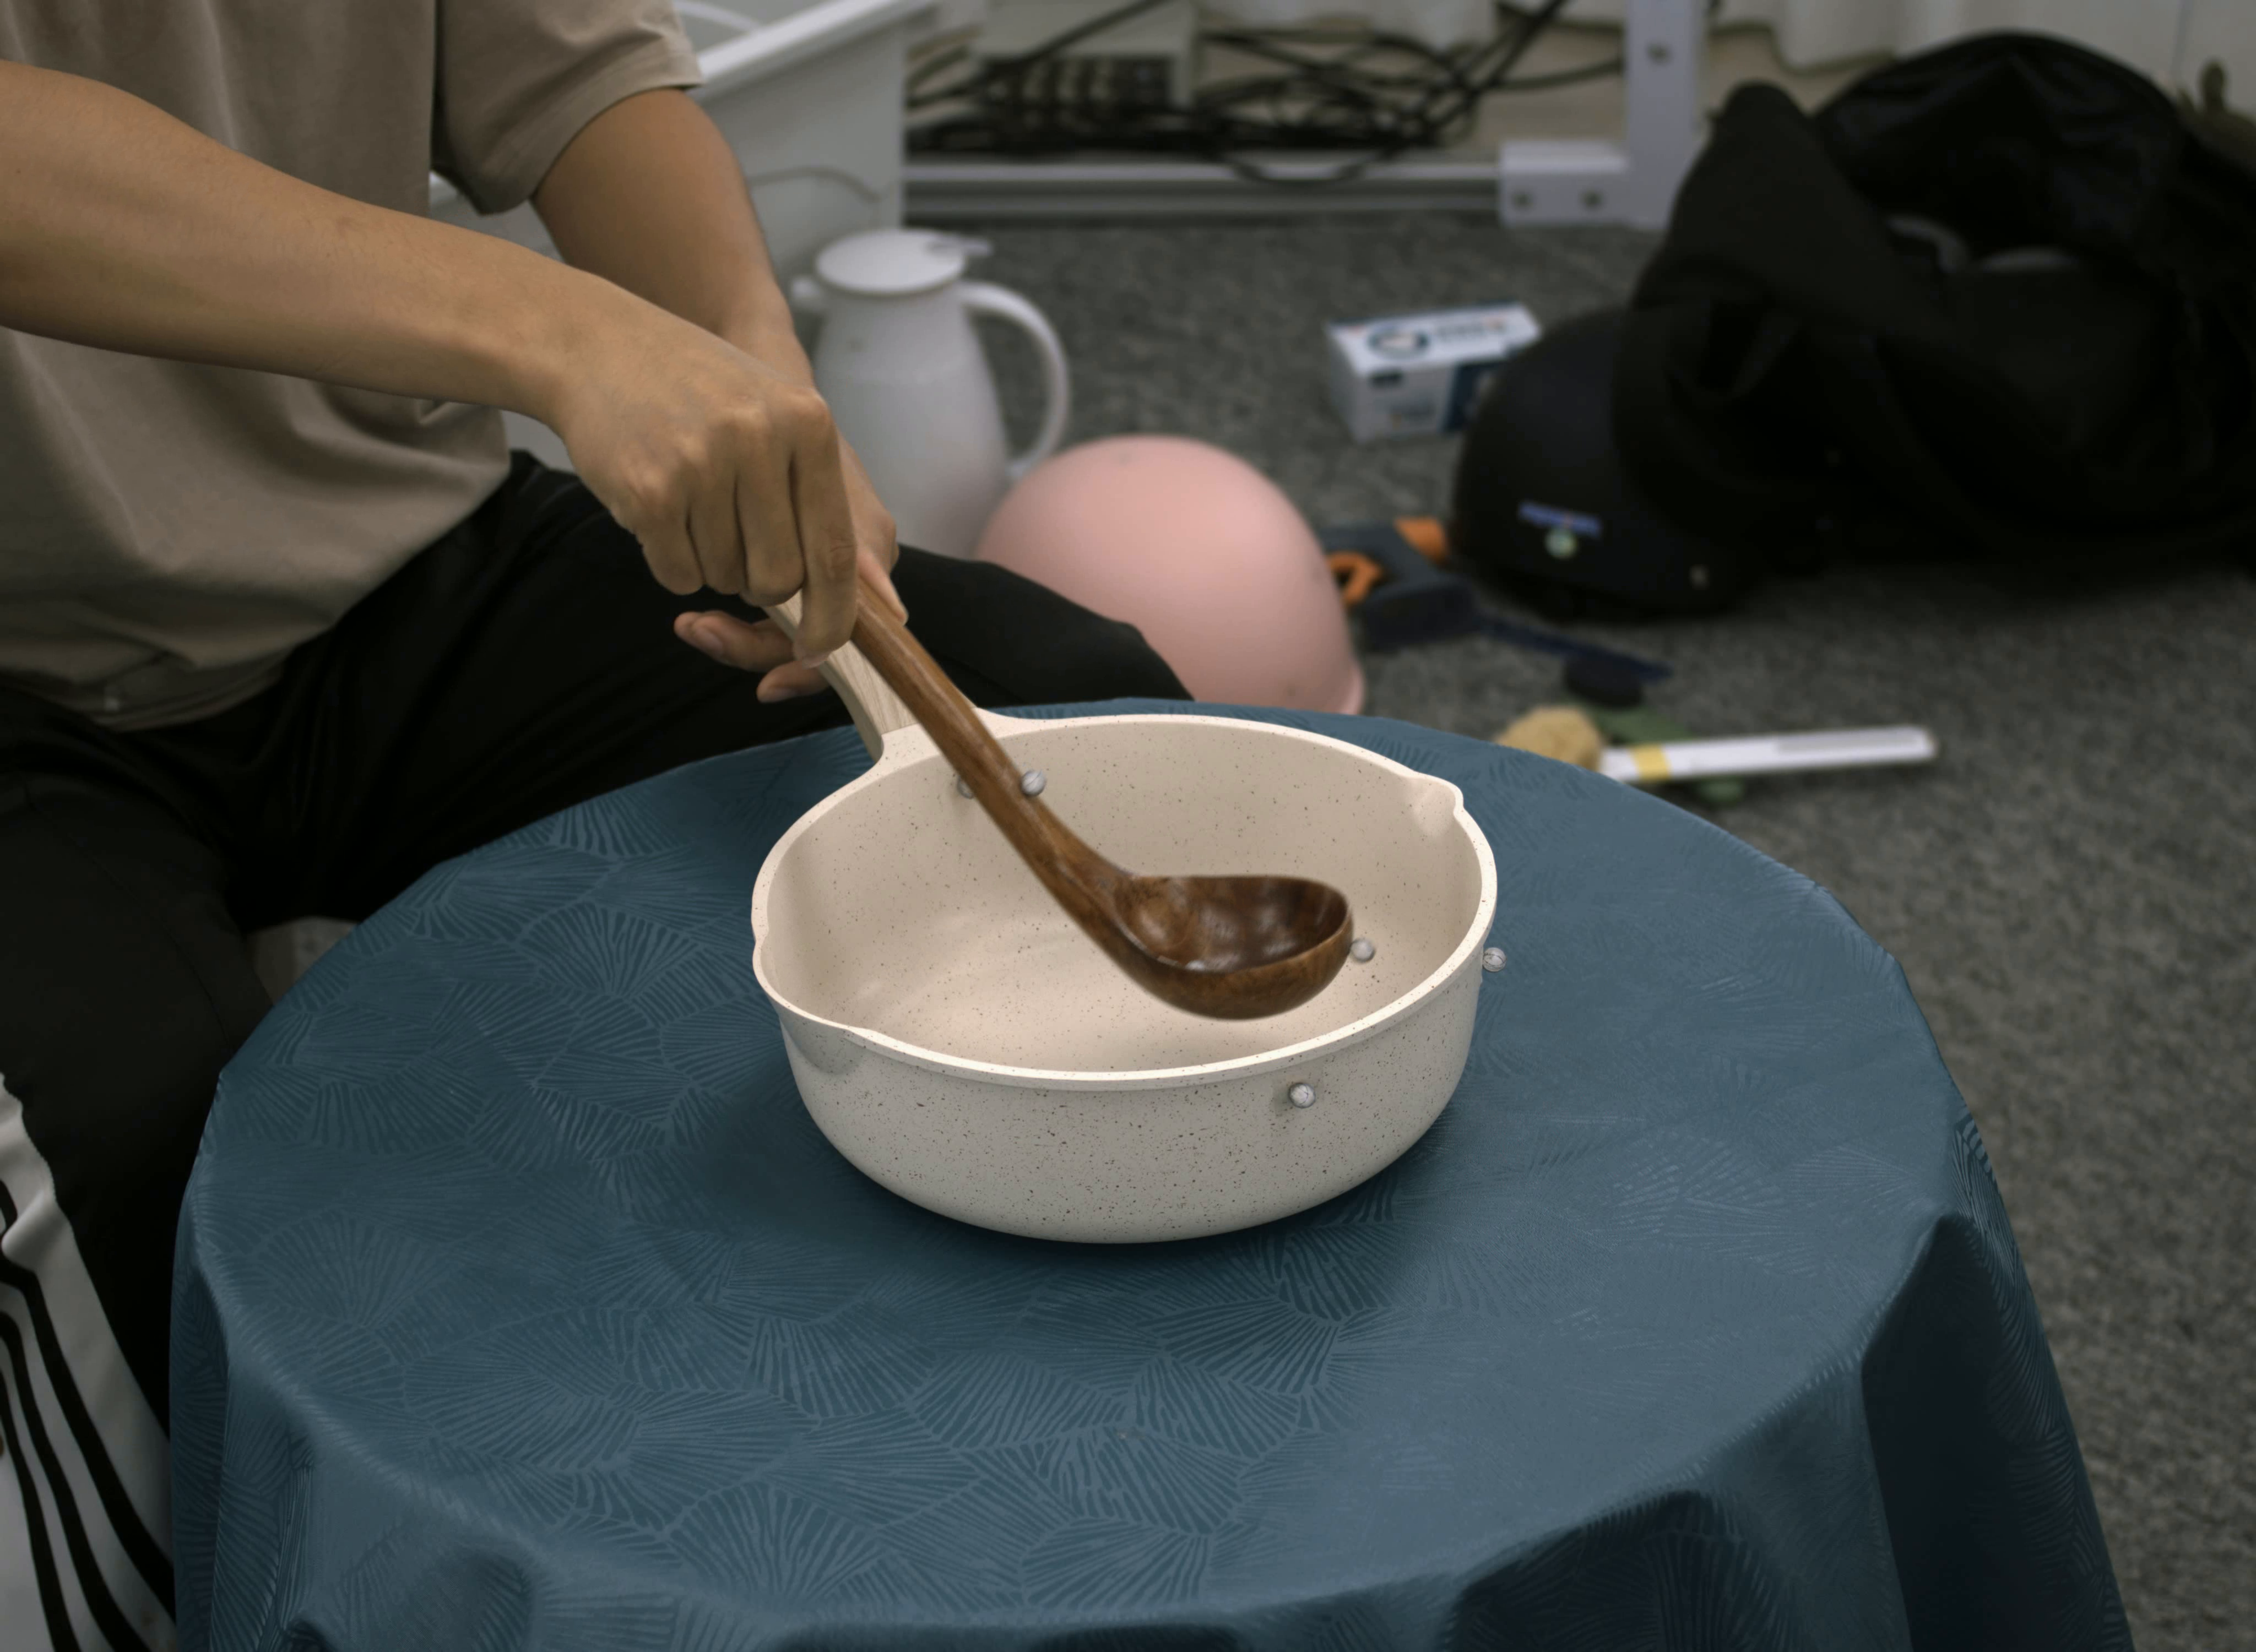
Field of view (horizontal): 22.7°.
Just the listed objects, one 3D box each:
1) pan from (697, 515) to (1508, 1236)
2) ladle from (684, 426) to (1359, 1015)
[{"bbox_3d":[-0.041,0.011,1.972,0.265,0.101,0.437,-18,31,-24],"label":"pan"},{"bbox_3d":[-0.031,-0.042,1.854,0.076,0.273,0.083,-37,10,16],"label":"ladle"}]
